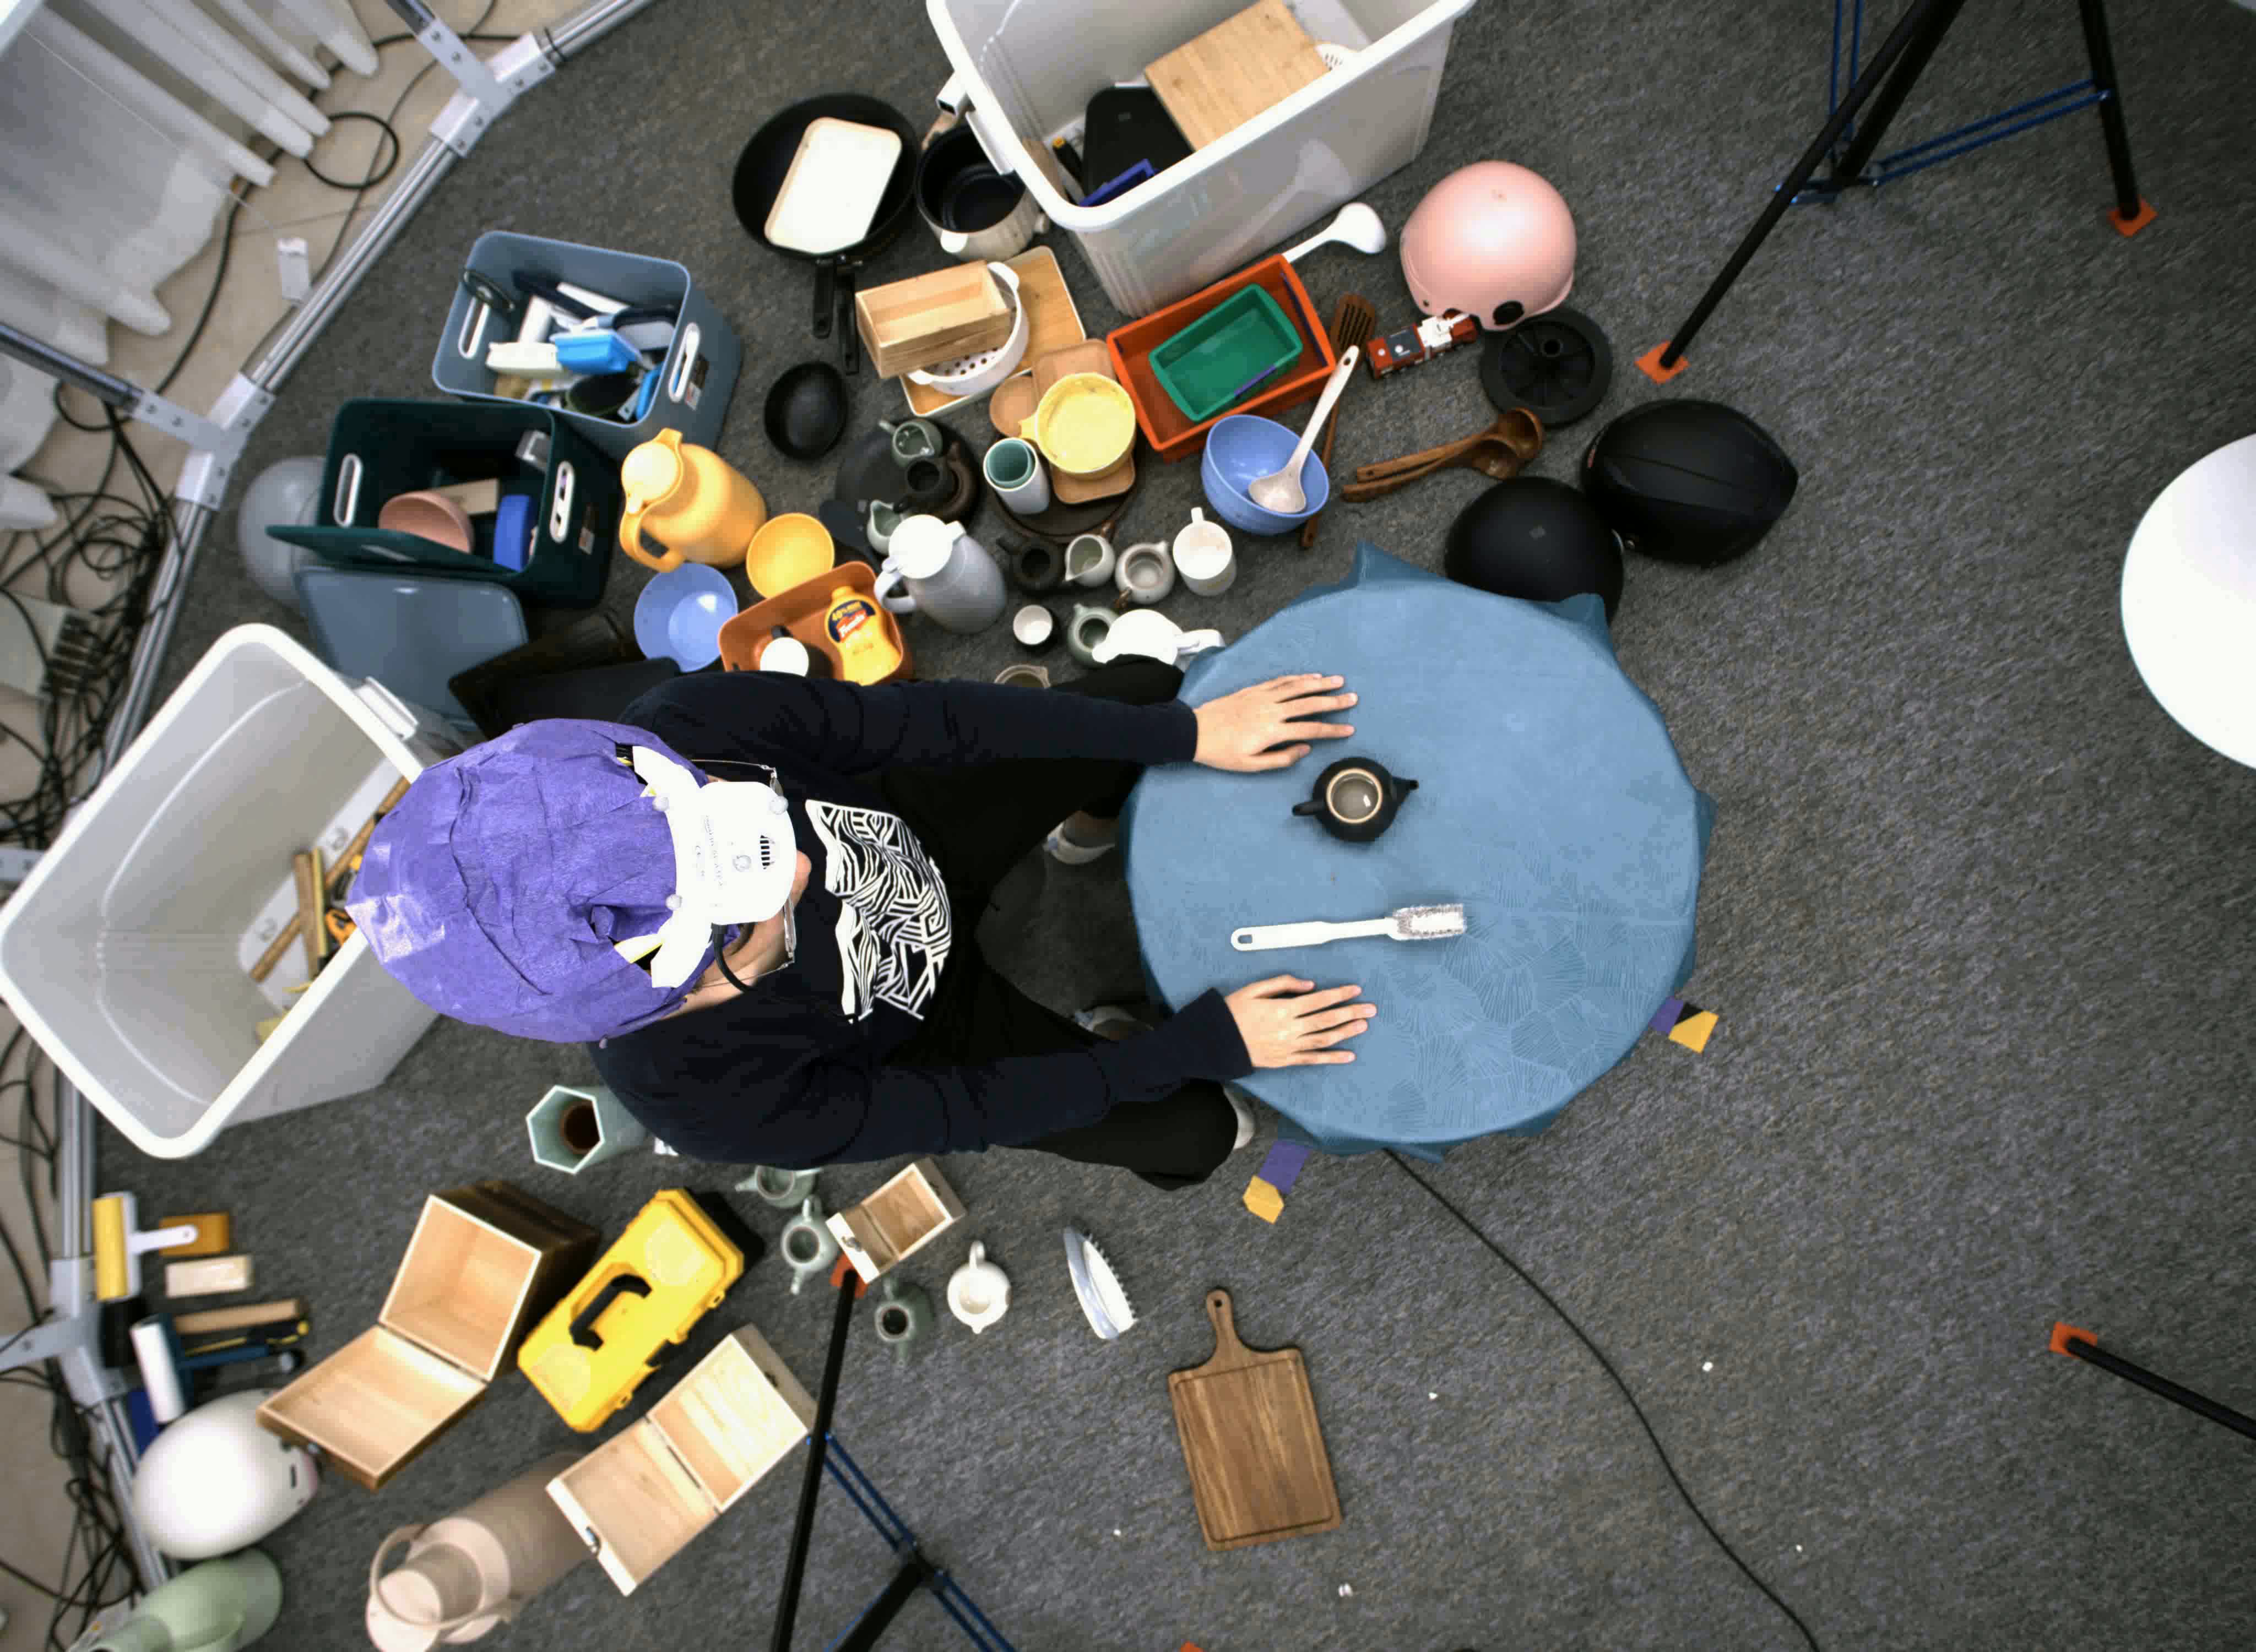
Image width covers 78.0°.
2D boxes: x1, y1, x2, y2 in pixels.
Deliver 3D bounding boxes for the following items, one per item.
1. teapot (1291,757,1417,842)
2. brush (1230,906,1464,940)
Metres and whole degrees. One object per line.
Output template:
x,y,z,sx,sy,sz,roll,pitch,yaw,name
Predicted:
0.236,-0.030,1.443,0.134,0.053,0.090,-13,81,10,teapot
0.226,0.103,1.441,0.244,0.050,0.034,-3,89,10,brush
